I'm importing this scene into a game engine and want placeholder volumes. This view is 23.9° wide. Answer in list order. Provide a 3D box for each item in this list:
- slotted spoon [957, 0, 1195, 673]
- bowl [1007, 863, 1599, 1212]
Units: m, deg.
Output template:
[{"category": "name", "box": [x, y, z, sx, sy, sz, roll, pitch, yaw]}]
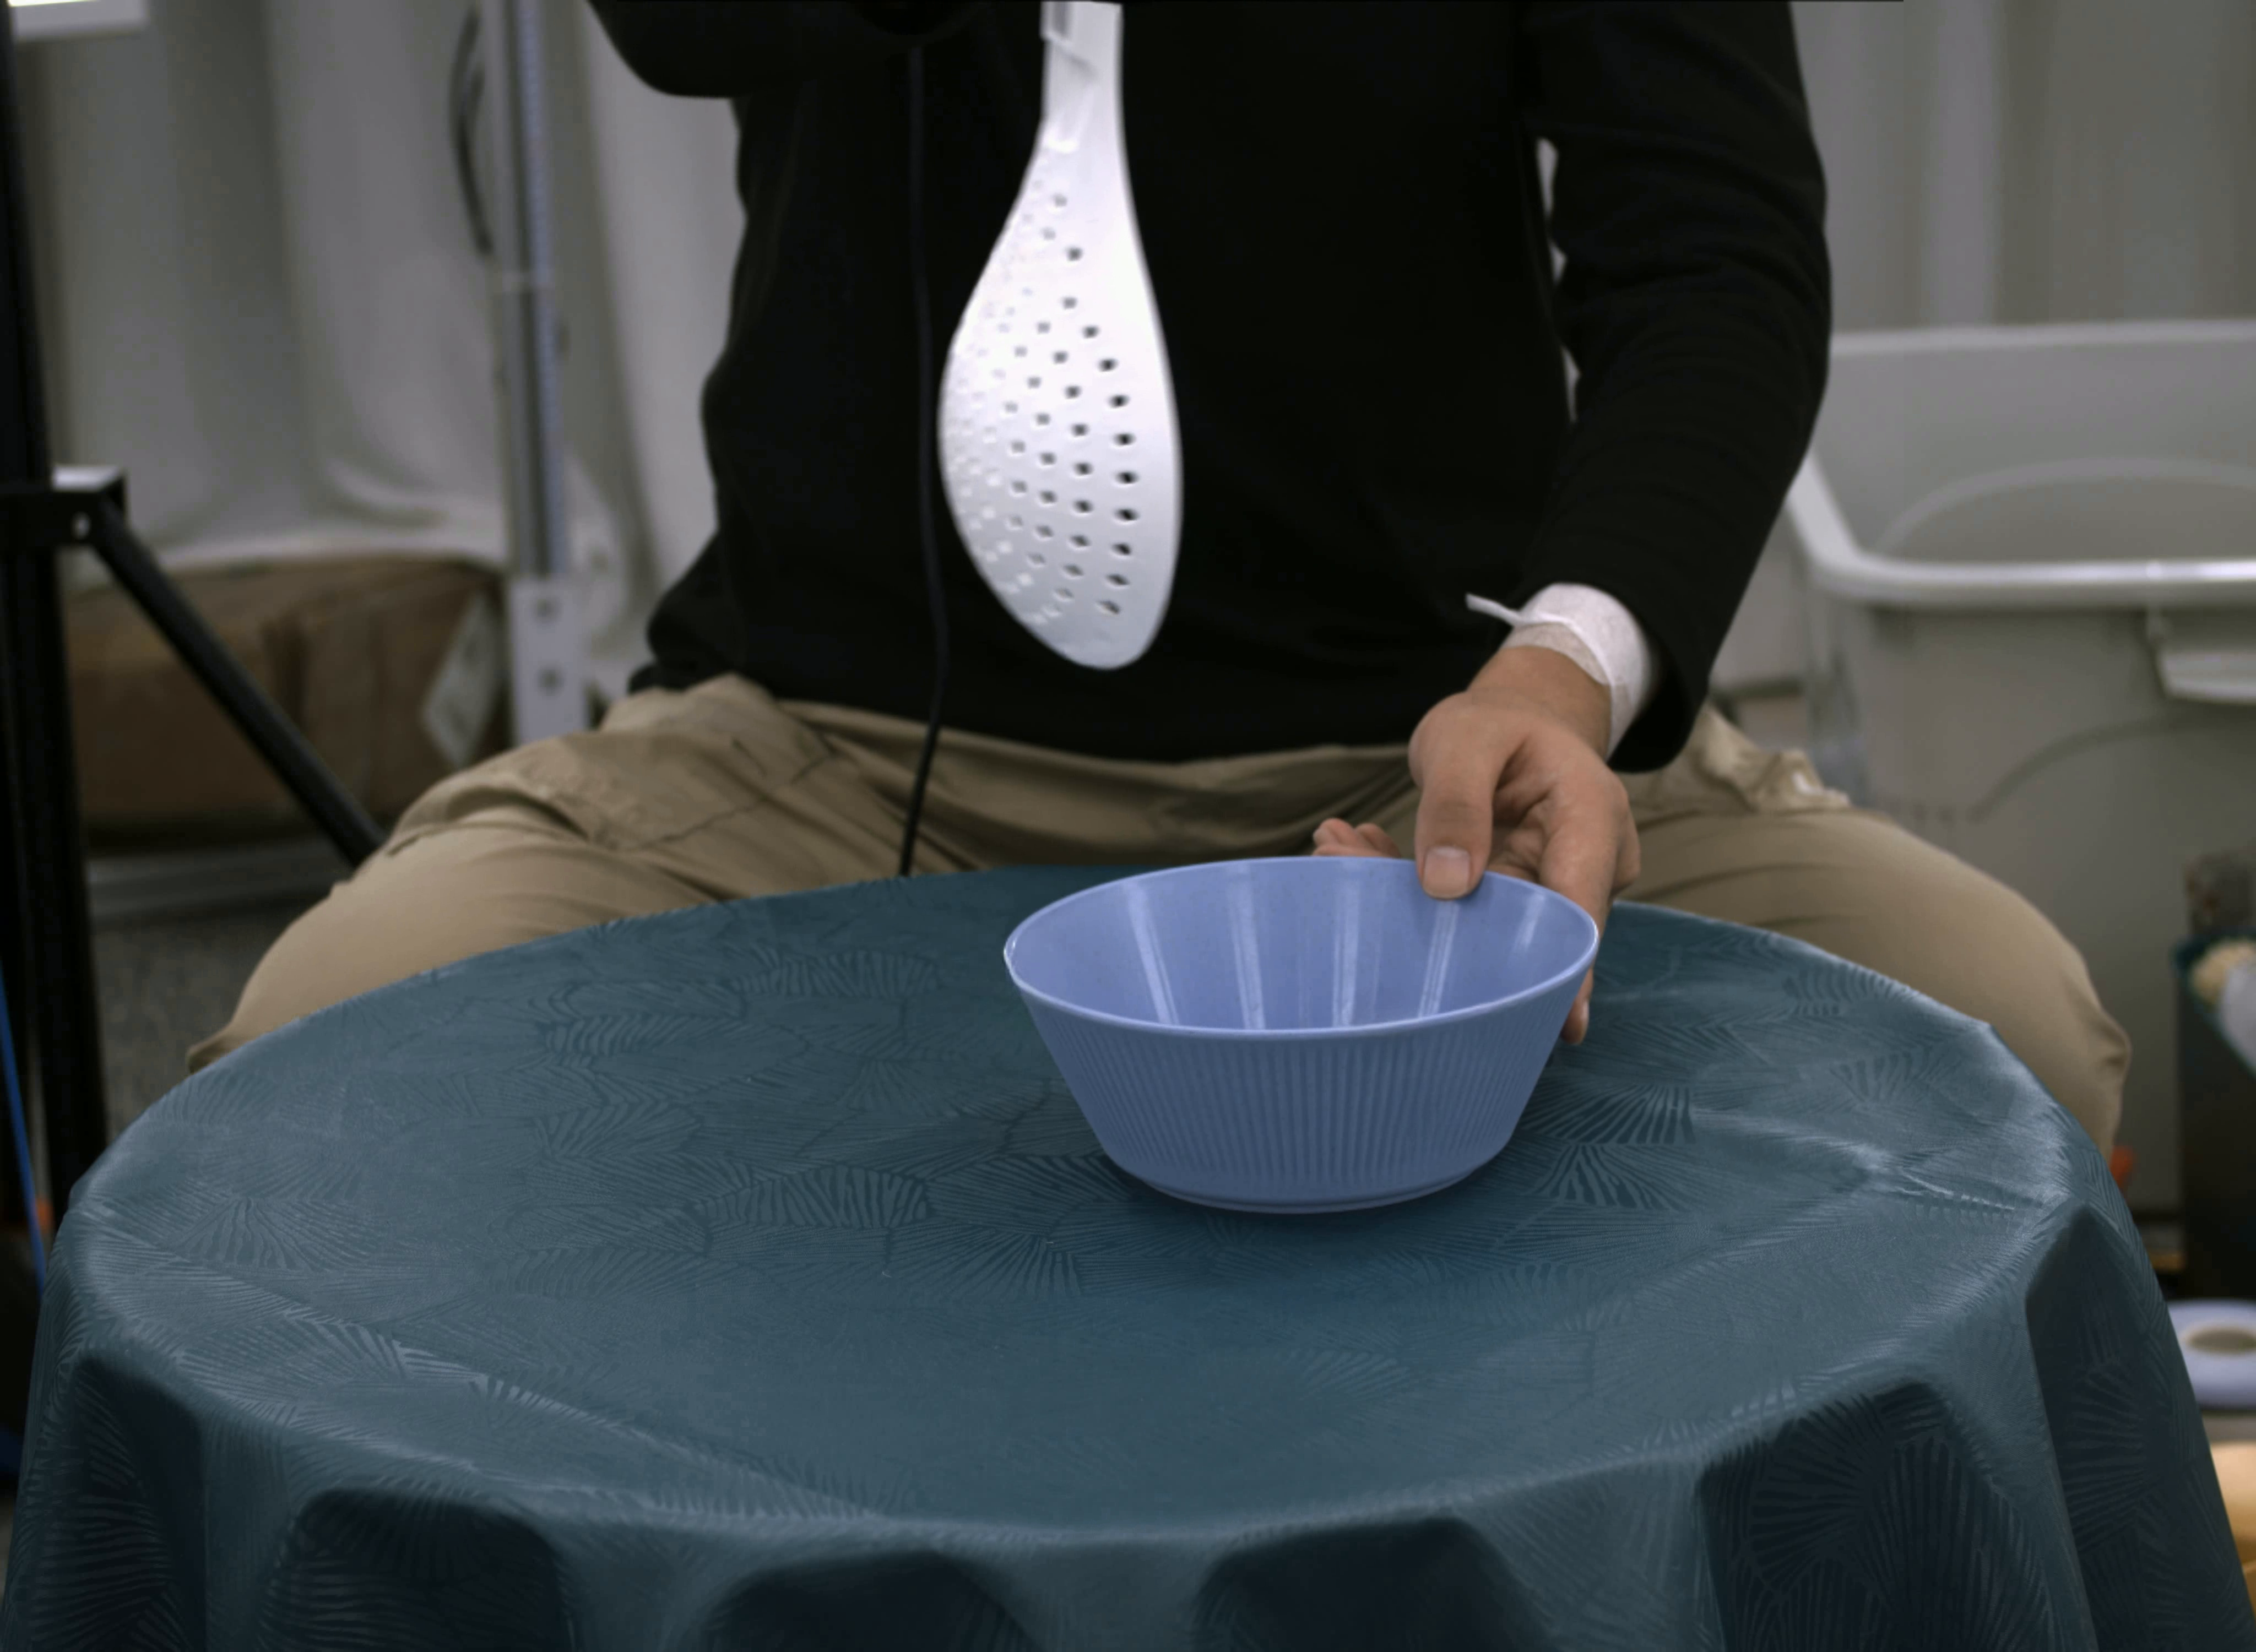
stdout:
[{"category": "slotted spoon", "box": [-0.010, -0.211, 1.521, 0.045, 0.350, 0.139, -2, 23, -23]}, {"category": "bowl", "box": [0.052, 0.065, 1.574, 0.175, 0.070, 0.177, -3, 14, -1]}]
